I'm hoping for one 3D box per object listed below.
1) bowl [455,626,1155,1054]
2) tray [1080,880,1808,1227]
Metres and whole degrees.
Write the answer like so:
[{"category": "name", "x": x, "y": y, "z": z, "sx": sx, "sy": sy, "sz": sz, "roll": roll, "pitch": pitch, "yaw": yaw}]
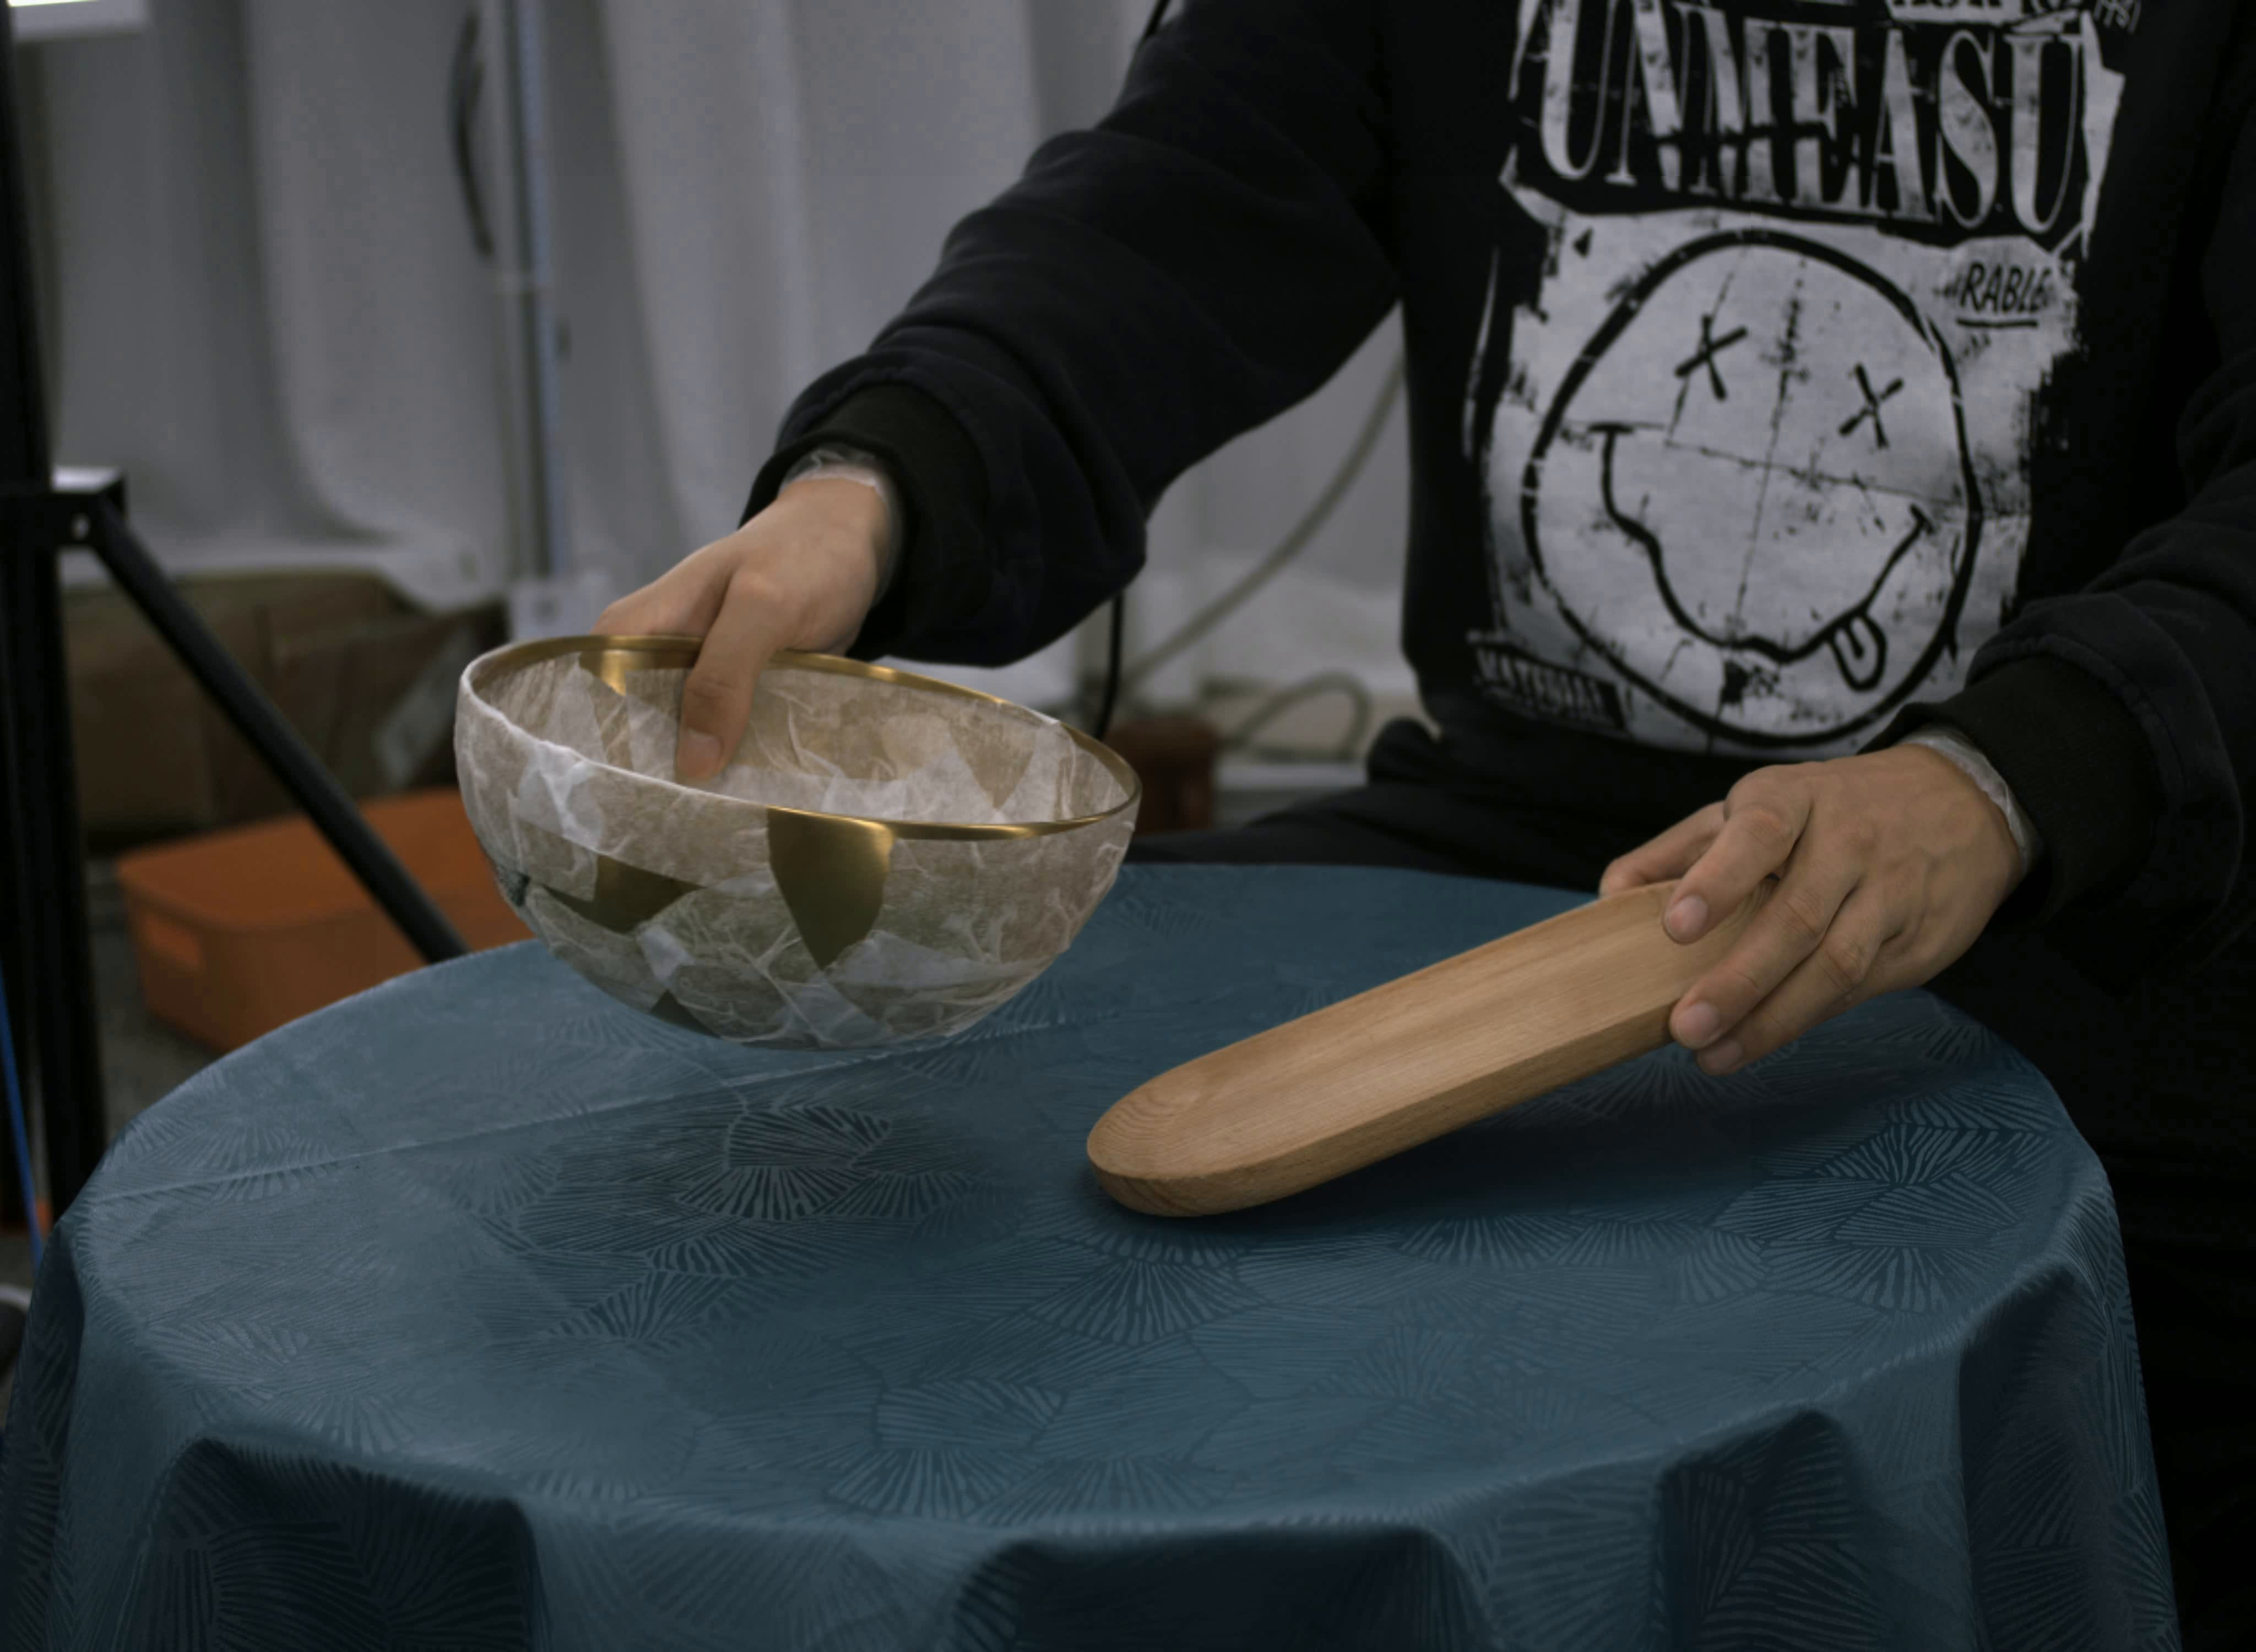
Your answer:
[{"category": "bowl", "x": -0.098, "y": 0.013, "z": 1.566, "sx": 0.213, "sy": 0.095, "sz": 0.215, "roll": 8, "pitch": 13, "yaw": -3}, {"category": "tray", "x": 0.095, "y": 0.067, "z": 1.567, "sx": 0.229, "sy": 0.020, "sz": 0.103, "roll": -23, "pitch": 16, "yaw": -11}]
